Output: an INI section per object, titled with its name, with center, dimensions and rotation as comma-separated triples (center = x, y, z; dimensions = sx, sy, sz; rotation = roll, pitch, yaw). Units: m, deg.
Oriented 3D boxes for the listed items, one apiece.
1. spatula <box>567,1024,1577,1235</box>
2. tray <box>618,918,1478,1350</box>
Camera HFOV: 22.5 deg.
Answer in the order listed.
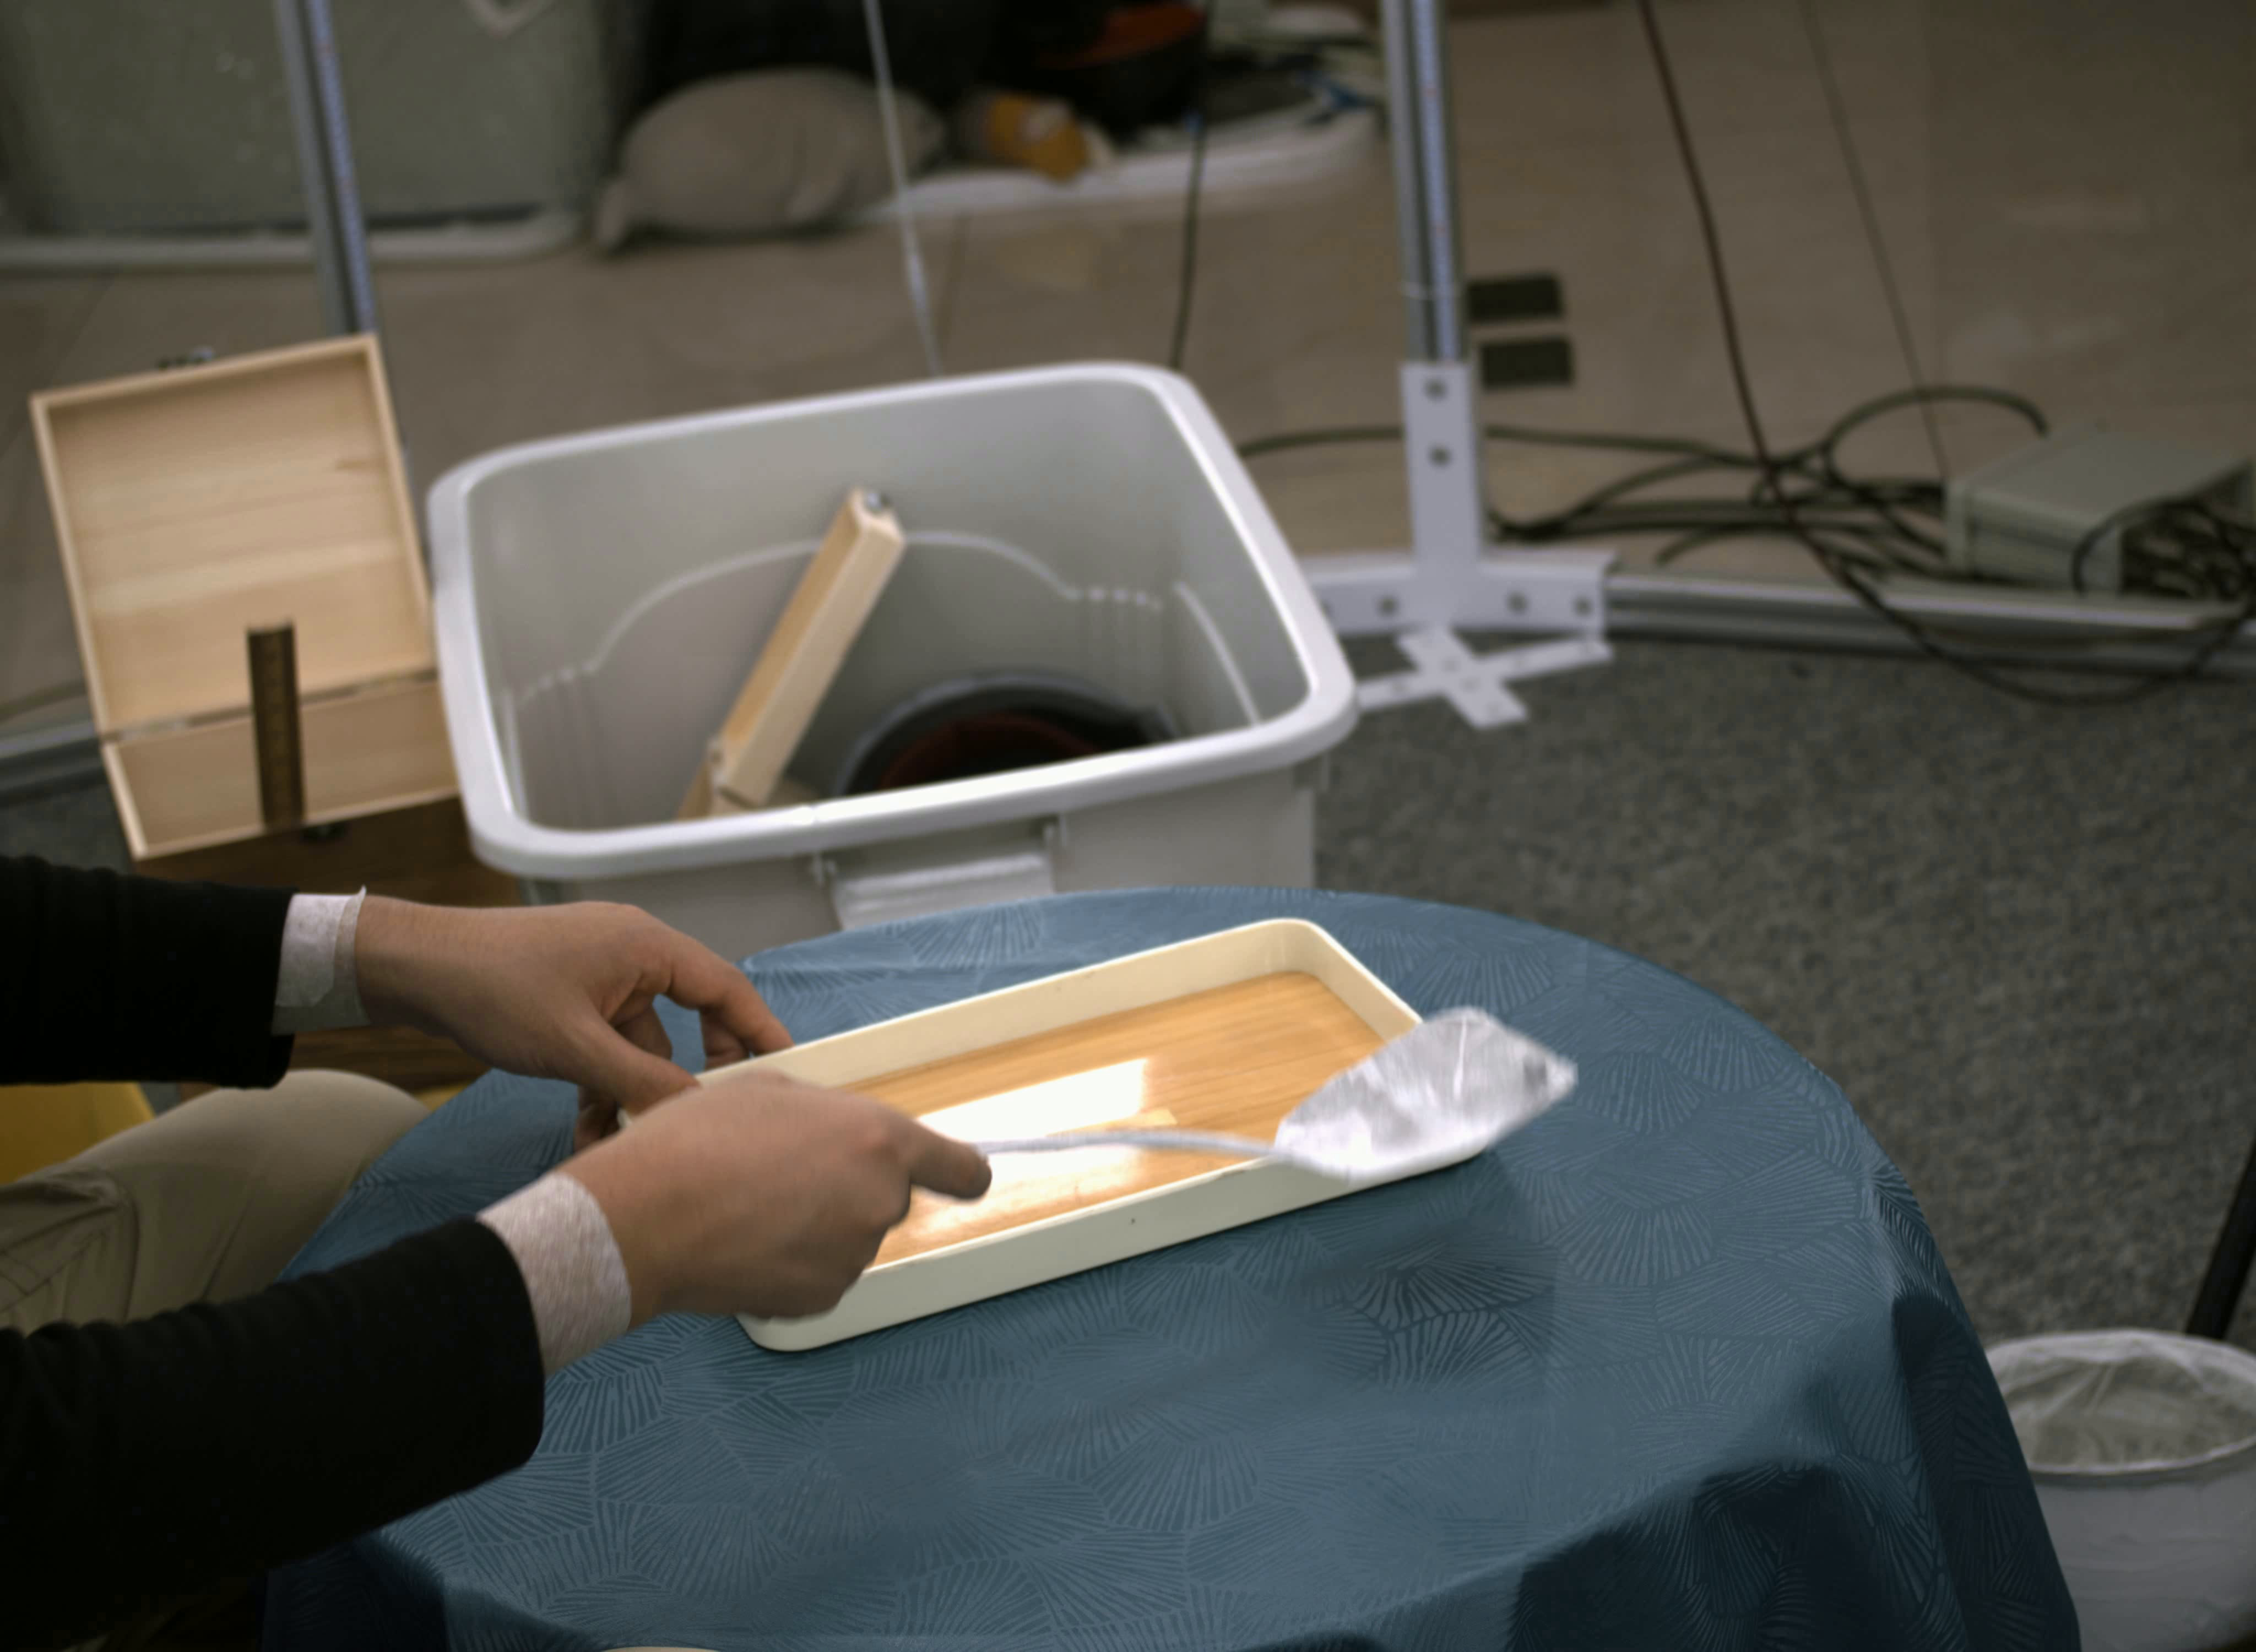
[spatula]
center = -0.018, 0.112, 1.979
dimensions = 0.364, 0.045, 0.097
rotation = -2, 21, -23
[tray]
center = -0.030, 0.115, 2.176
dimensions = 0.299, 0.028, 0.189
rotation = -15, 26, -17
